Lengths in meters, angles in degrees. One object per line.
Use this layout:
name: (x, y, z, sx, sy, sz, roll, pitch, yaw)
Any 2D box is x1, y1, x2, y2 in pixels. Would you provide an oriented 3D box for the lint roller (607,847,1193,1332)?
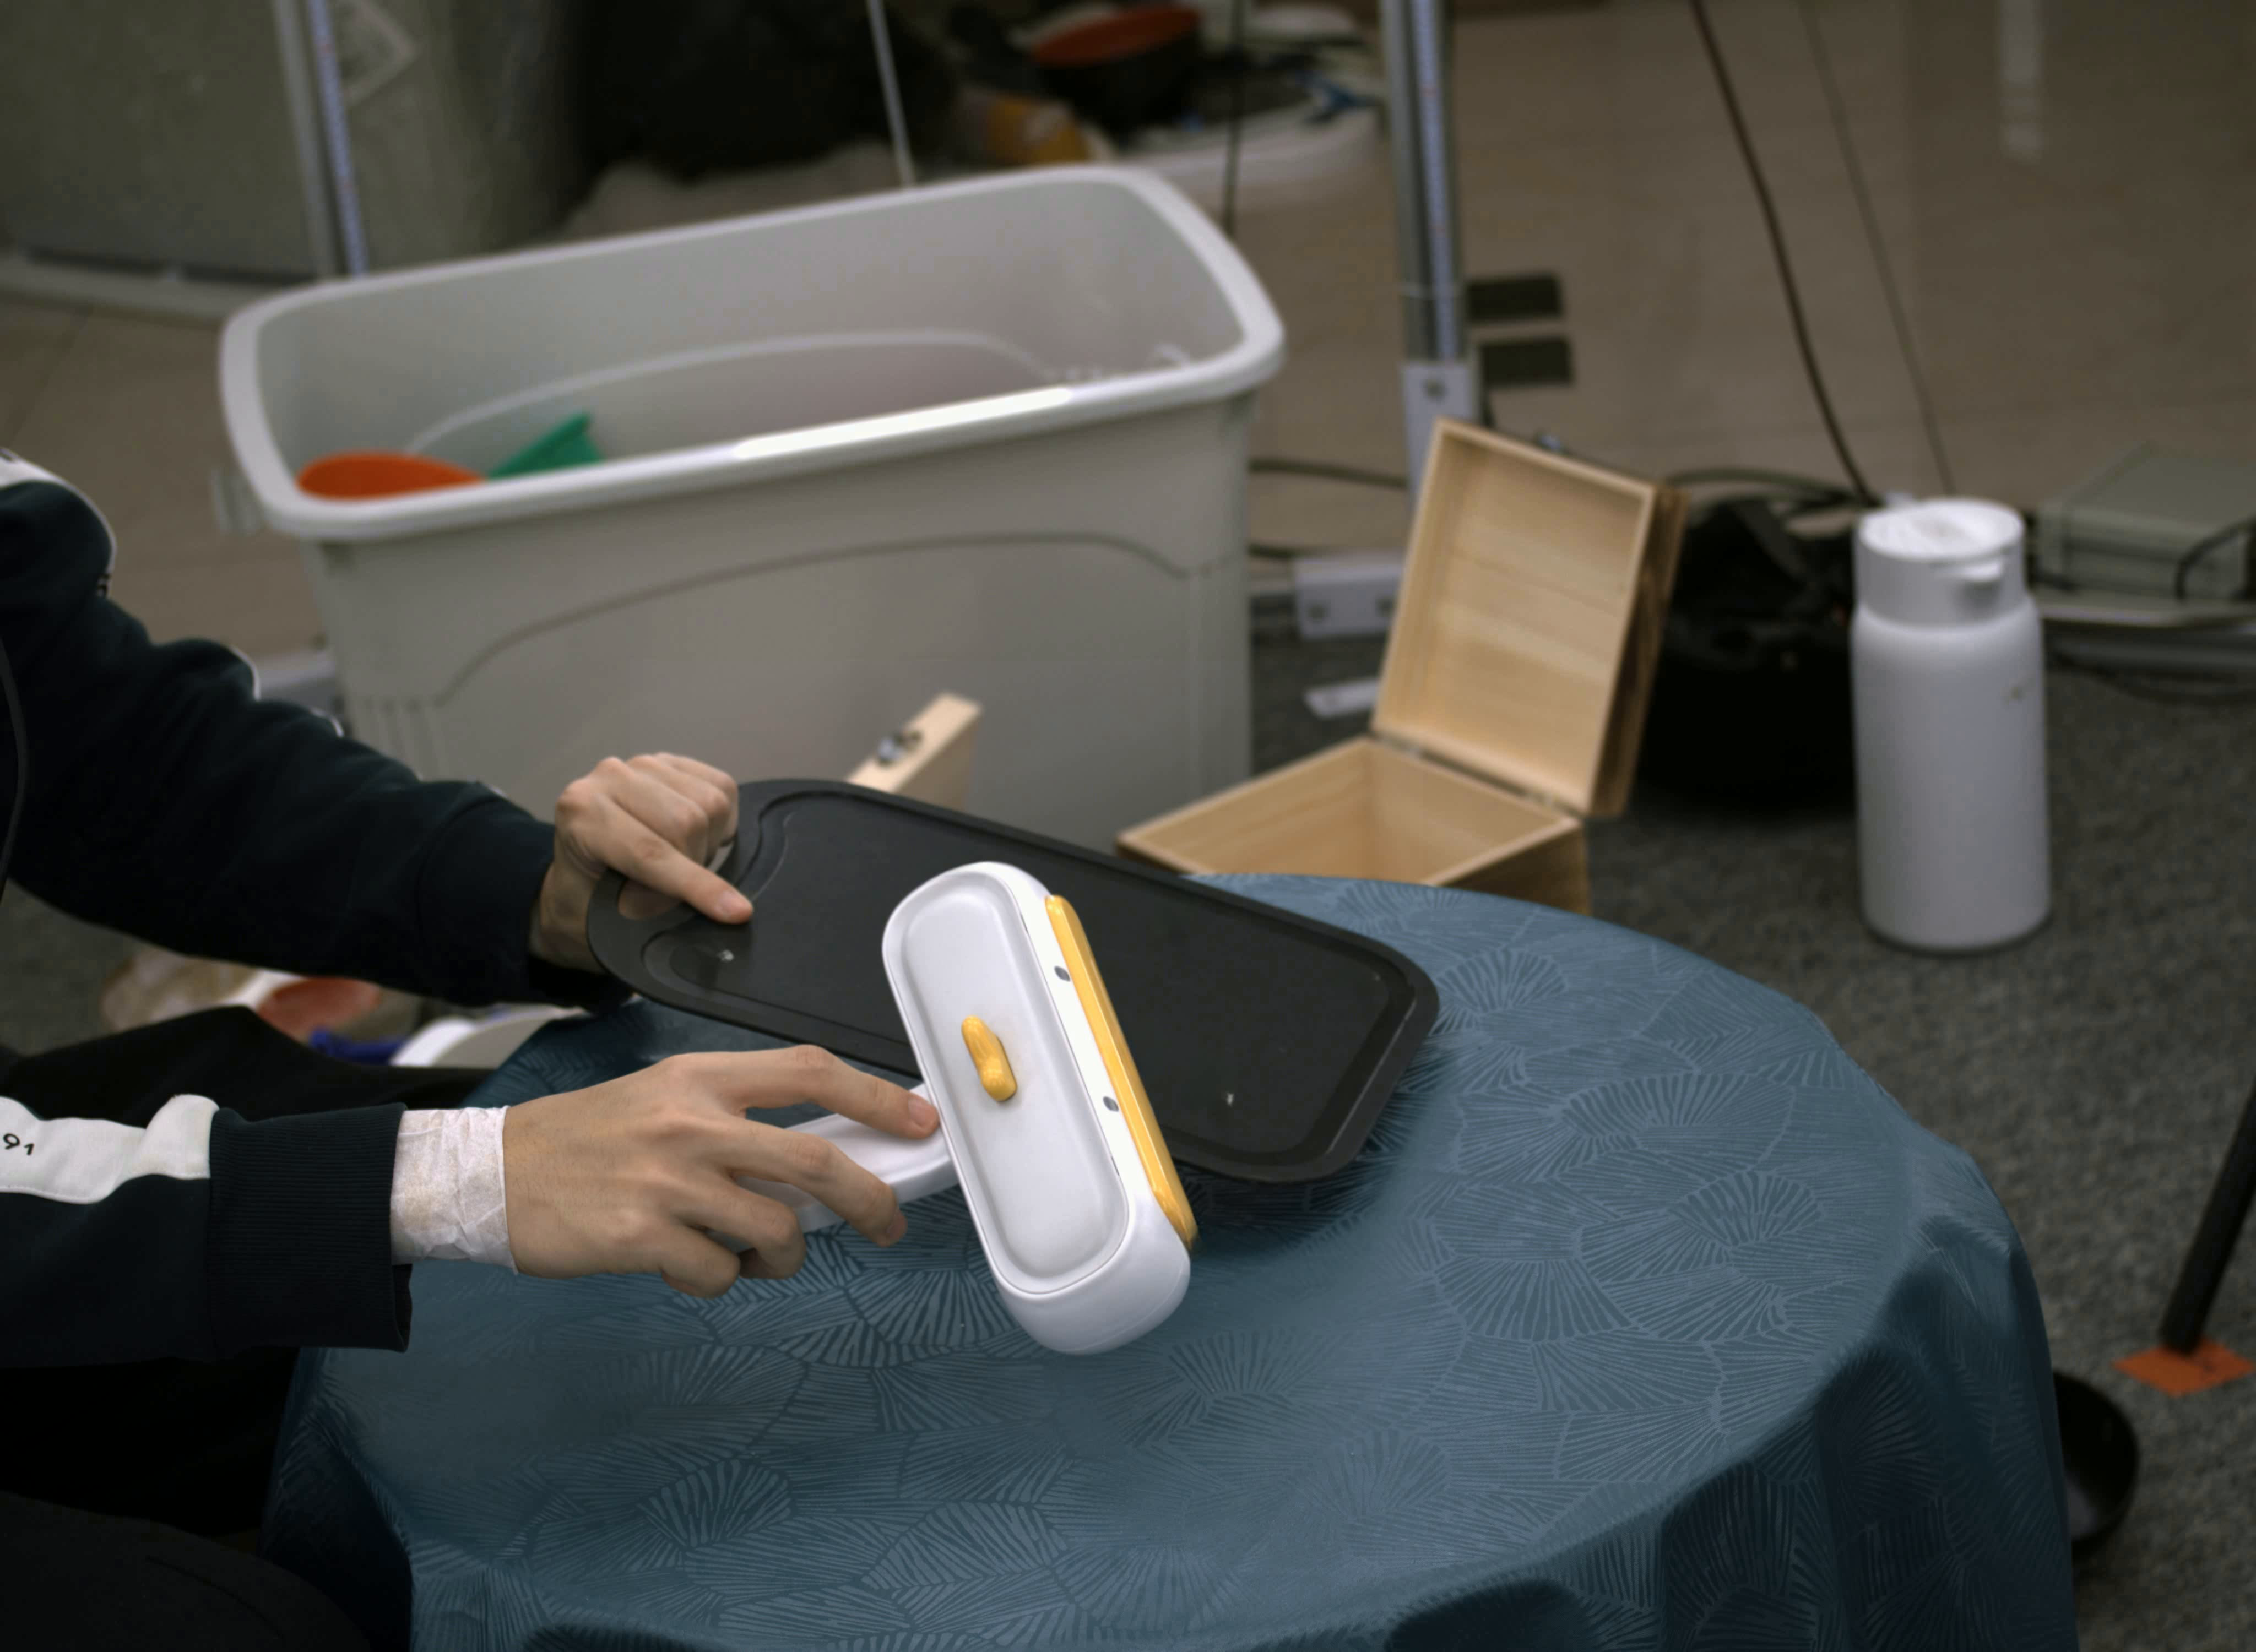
lint roller: (-0.090, 0.115, 1.992, 0.192, 0.075, 0.190, -27, 61, 2)

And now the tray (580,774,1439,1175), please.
tray: (-0.050, 0.051, 2.196, 0.324, 0.010, 0.208, 17, 28, 11)
